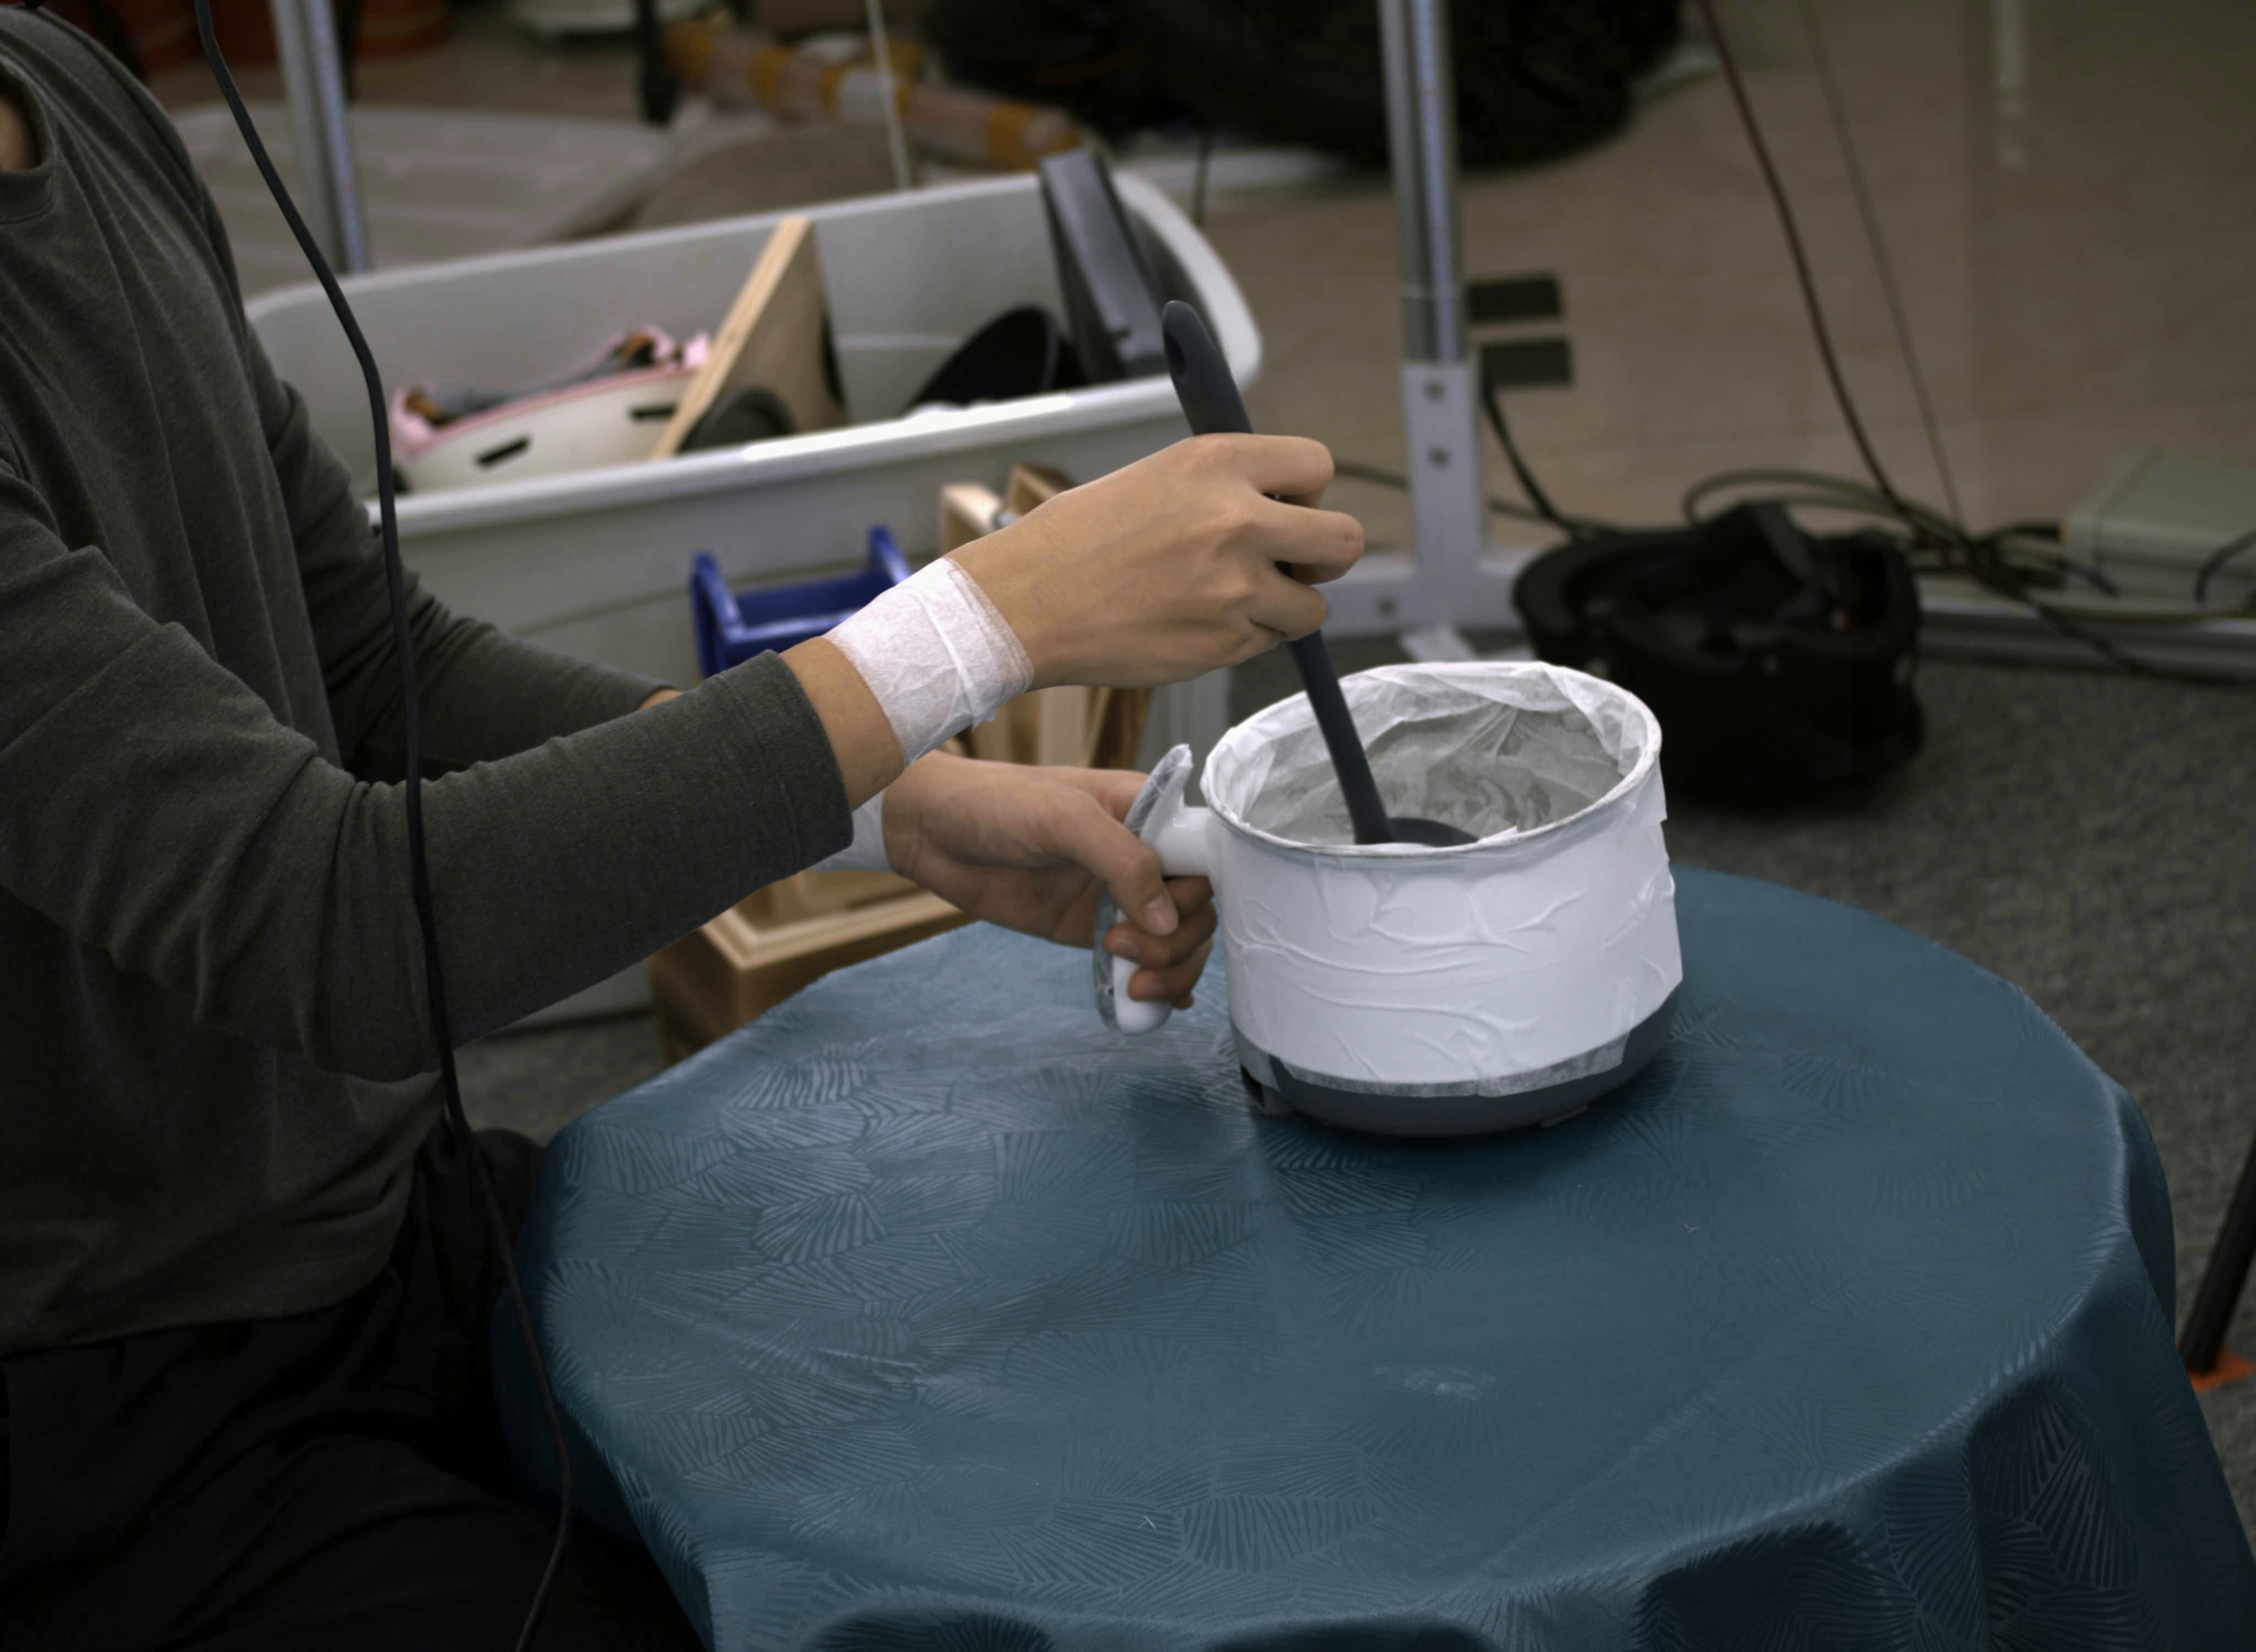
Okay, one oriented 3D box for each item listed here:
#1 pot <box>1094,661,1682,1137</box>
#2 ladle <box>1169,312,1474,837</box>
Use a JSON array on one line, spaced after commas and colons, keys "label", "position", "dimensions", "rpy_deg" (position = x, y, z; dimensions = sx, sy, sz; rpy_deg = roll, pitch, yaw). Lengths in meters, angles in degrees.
[{"label": "pot", "position": [0.097, 0.030, 2.196], "dimensions": [0.233, 0.139, 0.176], "rpy_deg": [-1, 26, 14]}, {"label": "ladle", "position": [0.085, -0.077, 2.077], "dimensions": [0.063, 0.319, 0.085], "rpy_deg": [-42, 41, -22]}]
